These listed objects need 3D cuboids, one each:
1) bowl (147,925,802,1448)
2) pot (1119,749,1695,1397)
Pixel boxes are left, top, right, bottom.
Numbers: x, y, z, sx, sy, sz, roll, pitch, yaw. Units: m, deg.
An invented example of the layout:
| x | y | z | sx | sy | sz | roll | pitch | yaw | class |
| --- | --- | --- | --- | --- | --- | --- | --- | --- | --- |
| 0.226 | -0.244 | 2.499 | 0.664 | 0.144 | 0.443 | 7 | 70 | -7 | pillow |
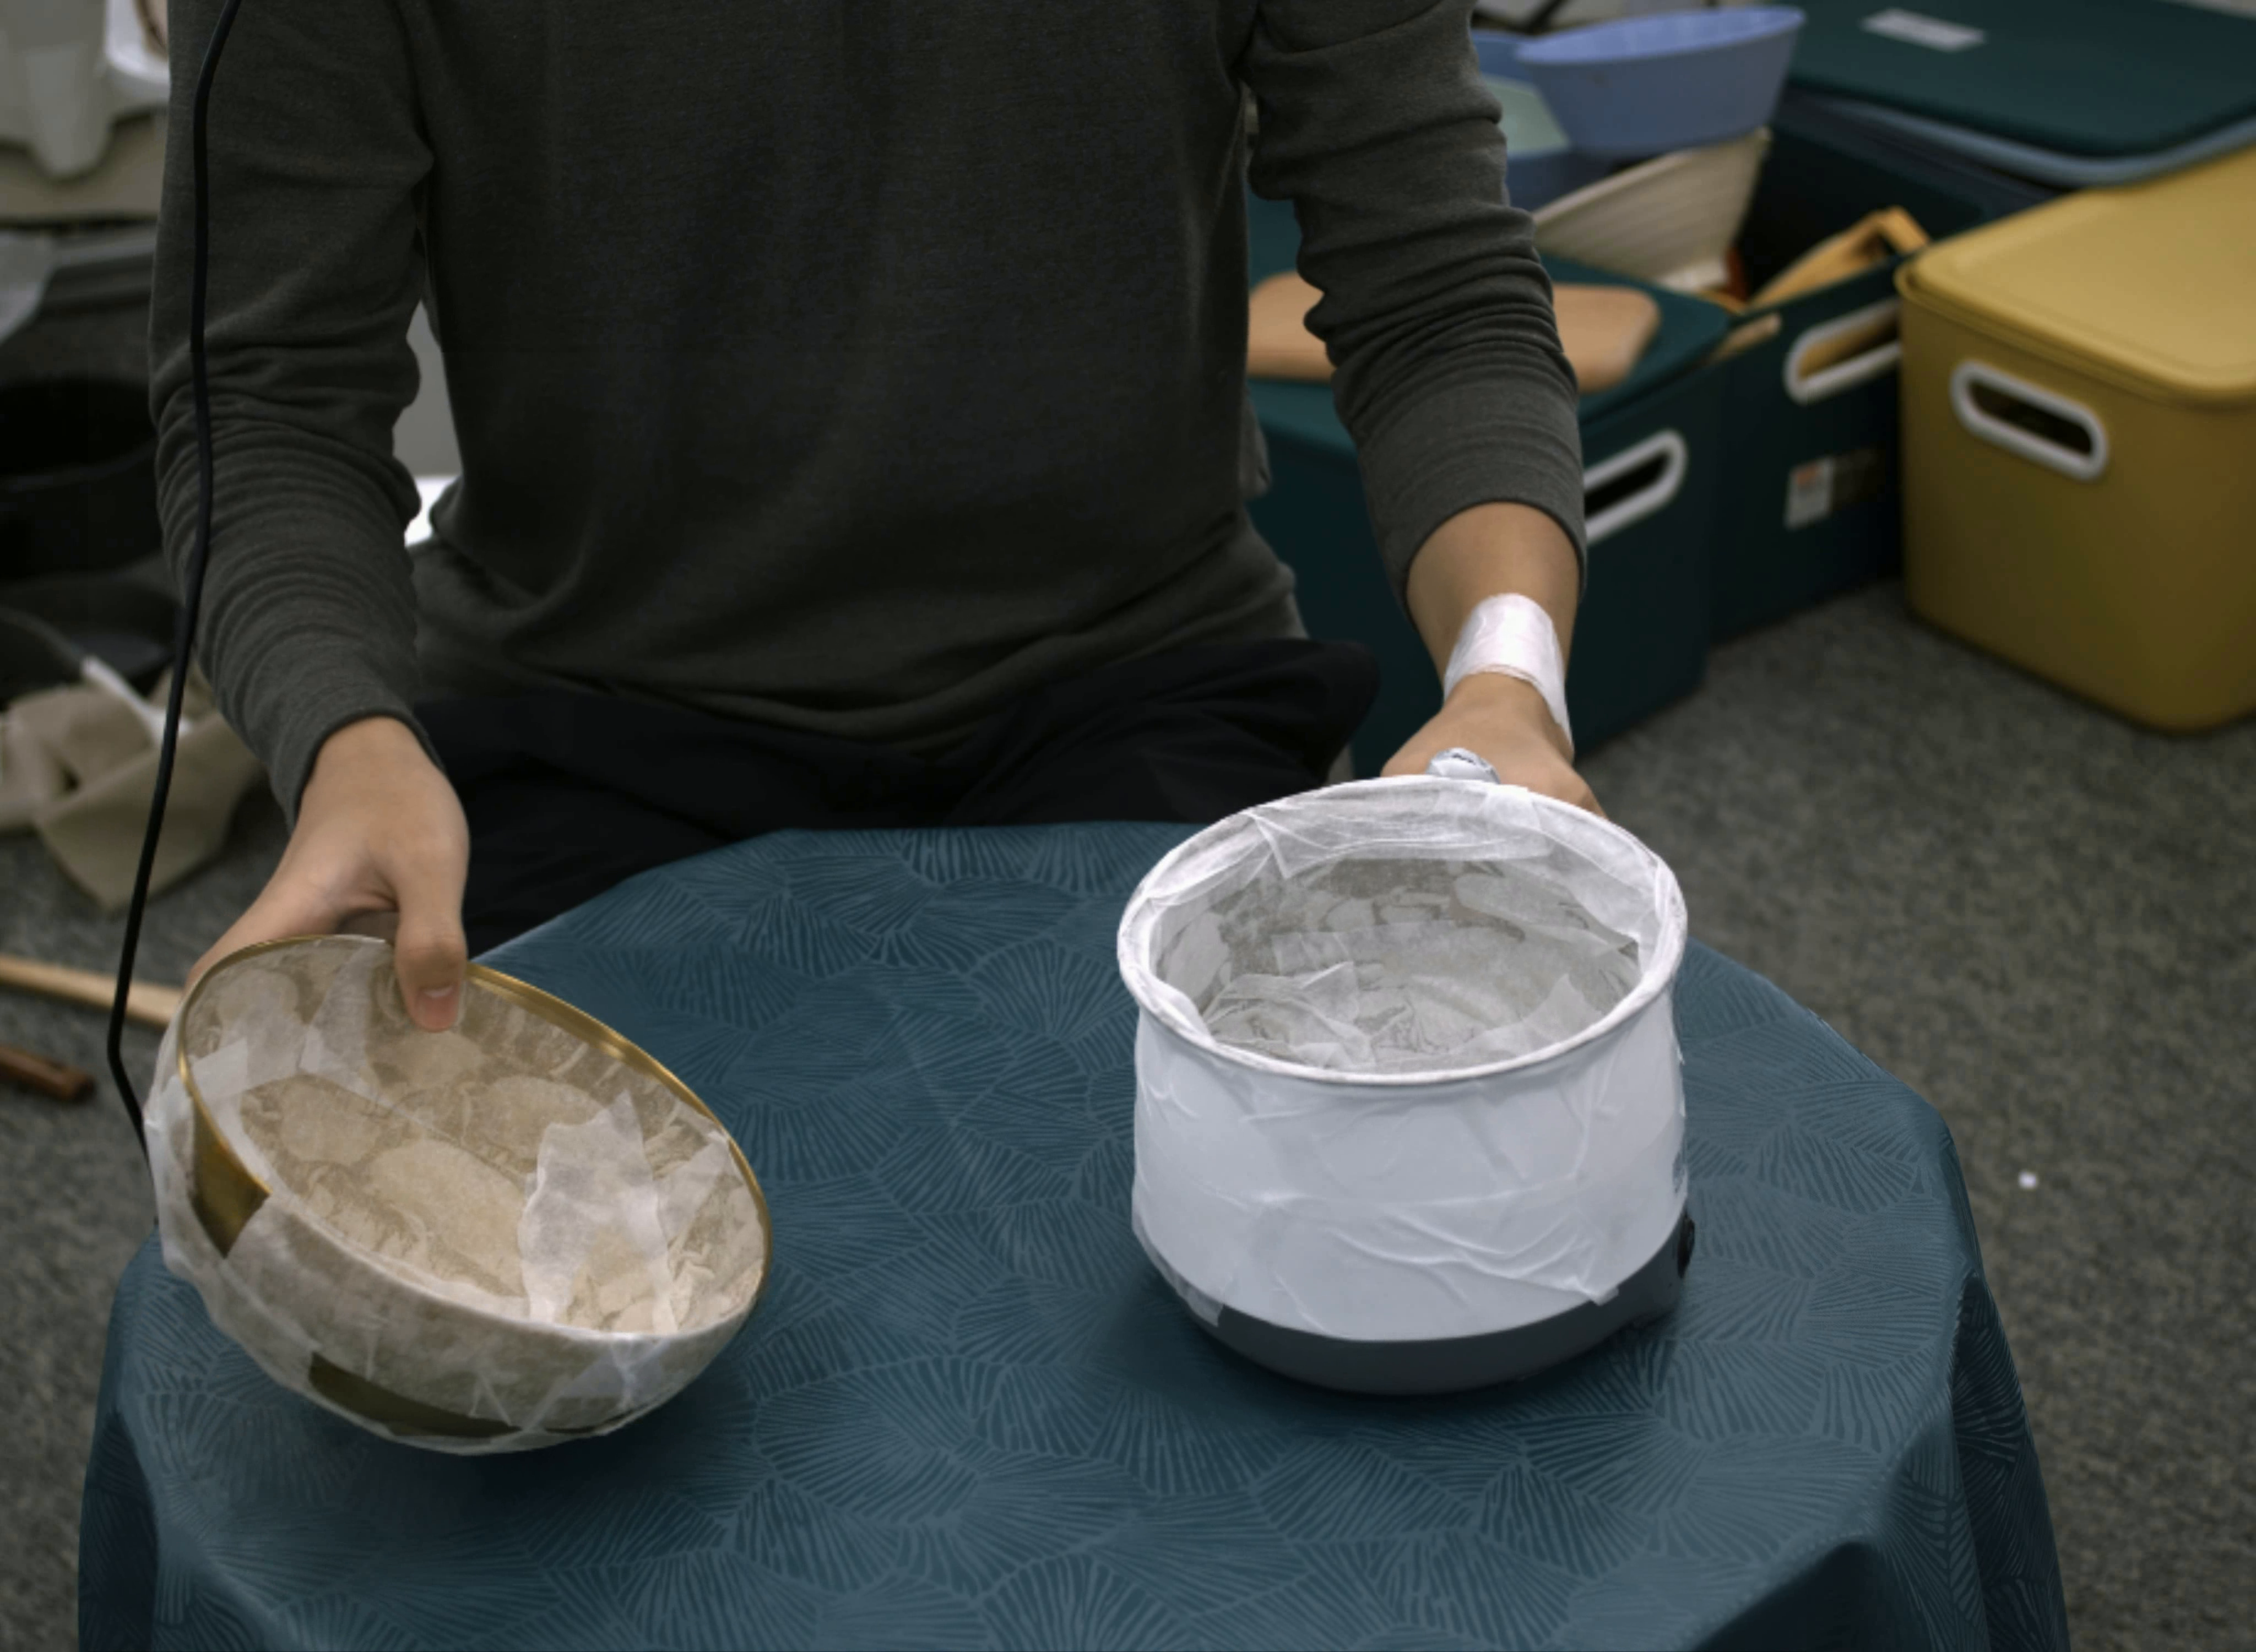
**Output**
| x | y | z | sx | sy | sz | roll | pitch | yaw | class |
| --- | --- | --- | --- | --- | --- | --- | --- | --- | --- |
| -0.217 | 0.126 | 1.745 | 0.214 | 0.093 | 0.218 | 22 | 24 | -10 | bowl |
| 0.095 | 0.070 | 1.797 | 0.177 | 0.135 | 0.238 | 3 | 30 | 12 | pot |
